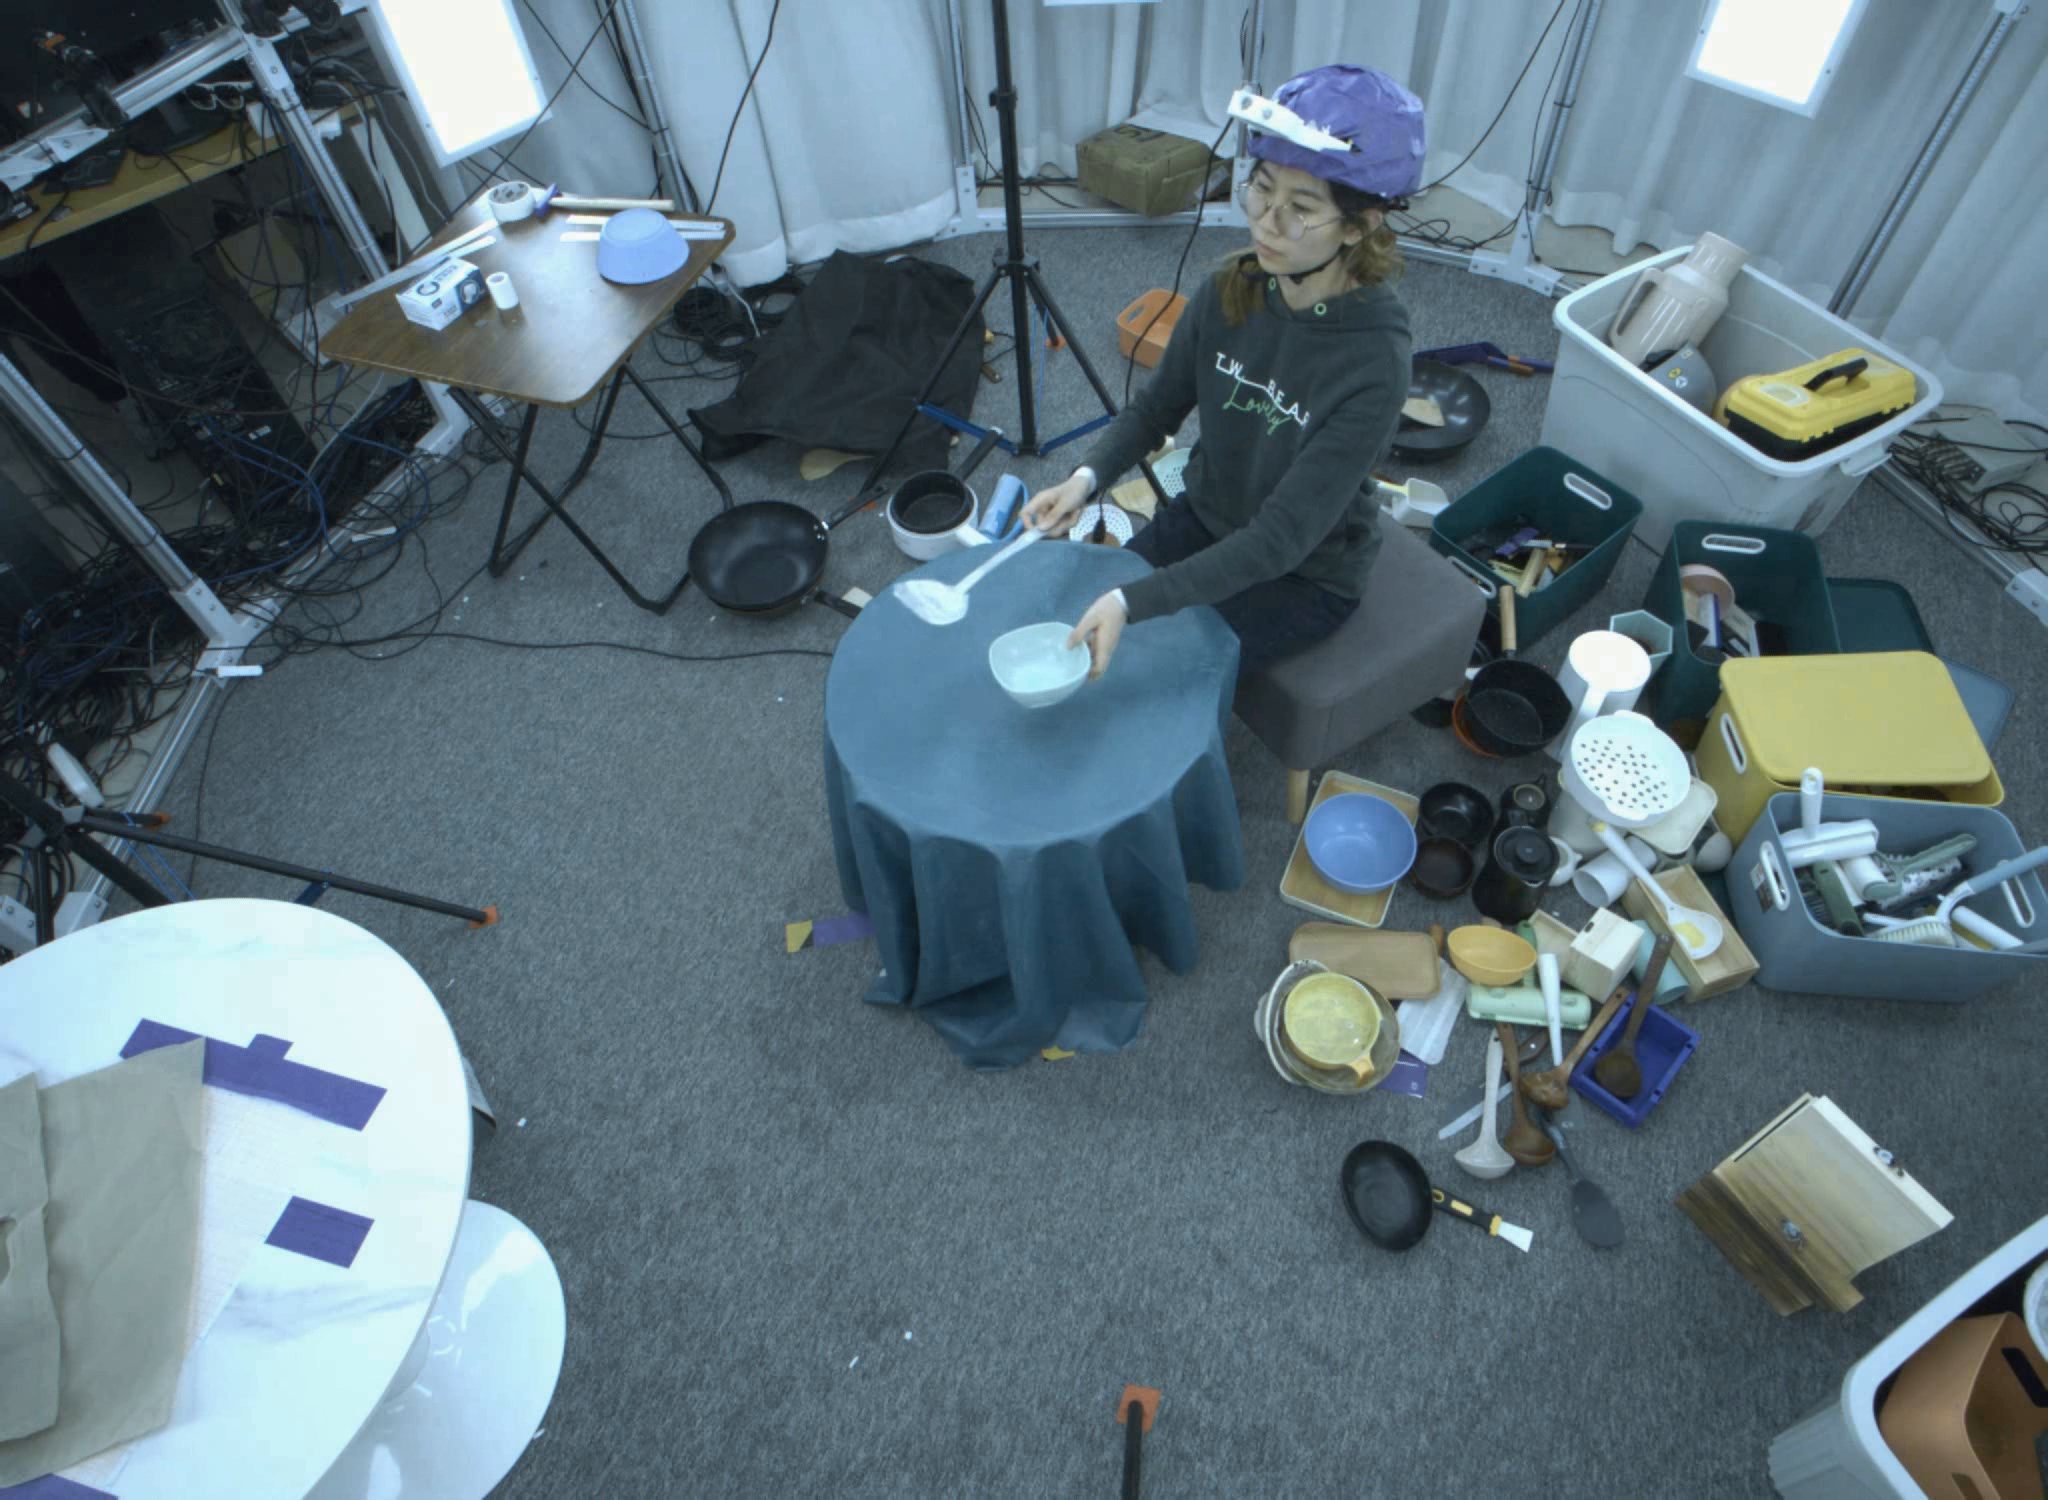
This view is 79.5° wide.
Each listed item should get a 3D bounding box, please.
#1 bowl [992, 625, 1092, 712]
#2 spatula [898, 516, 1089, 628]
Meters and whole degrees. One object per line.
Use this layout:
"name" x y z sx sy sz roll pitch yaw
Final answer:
"bowl" 0.028 -0.108 1.754 0.151 0.059 0.150 -3 49 4
"spatula" -0.030 -0.276 1.794 0.097 0.045 0.368 41 58 18
